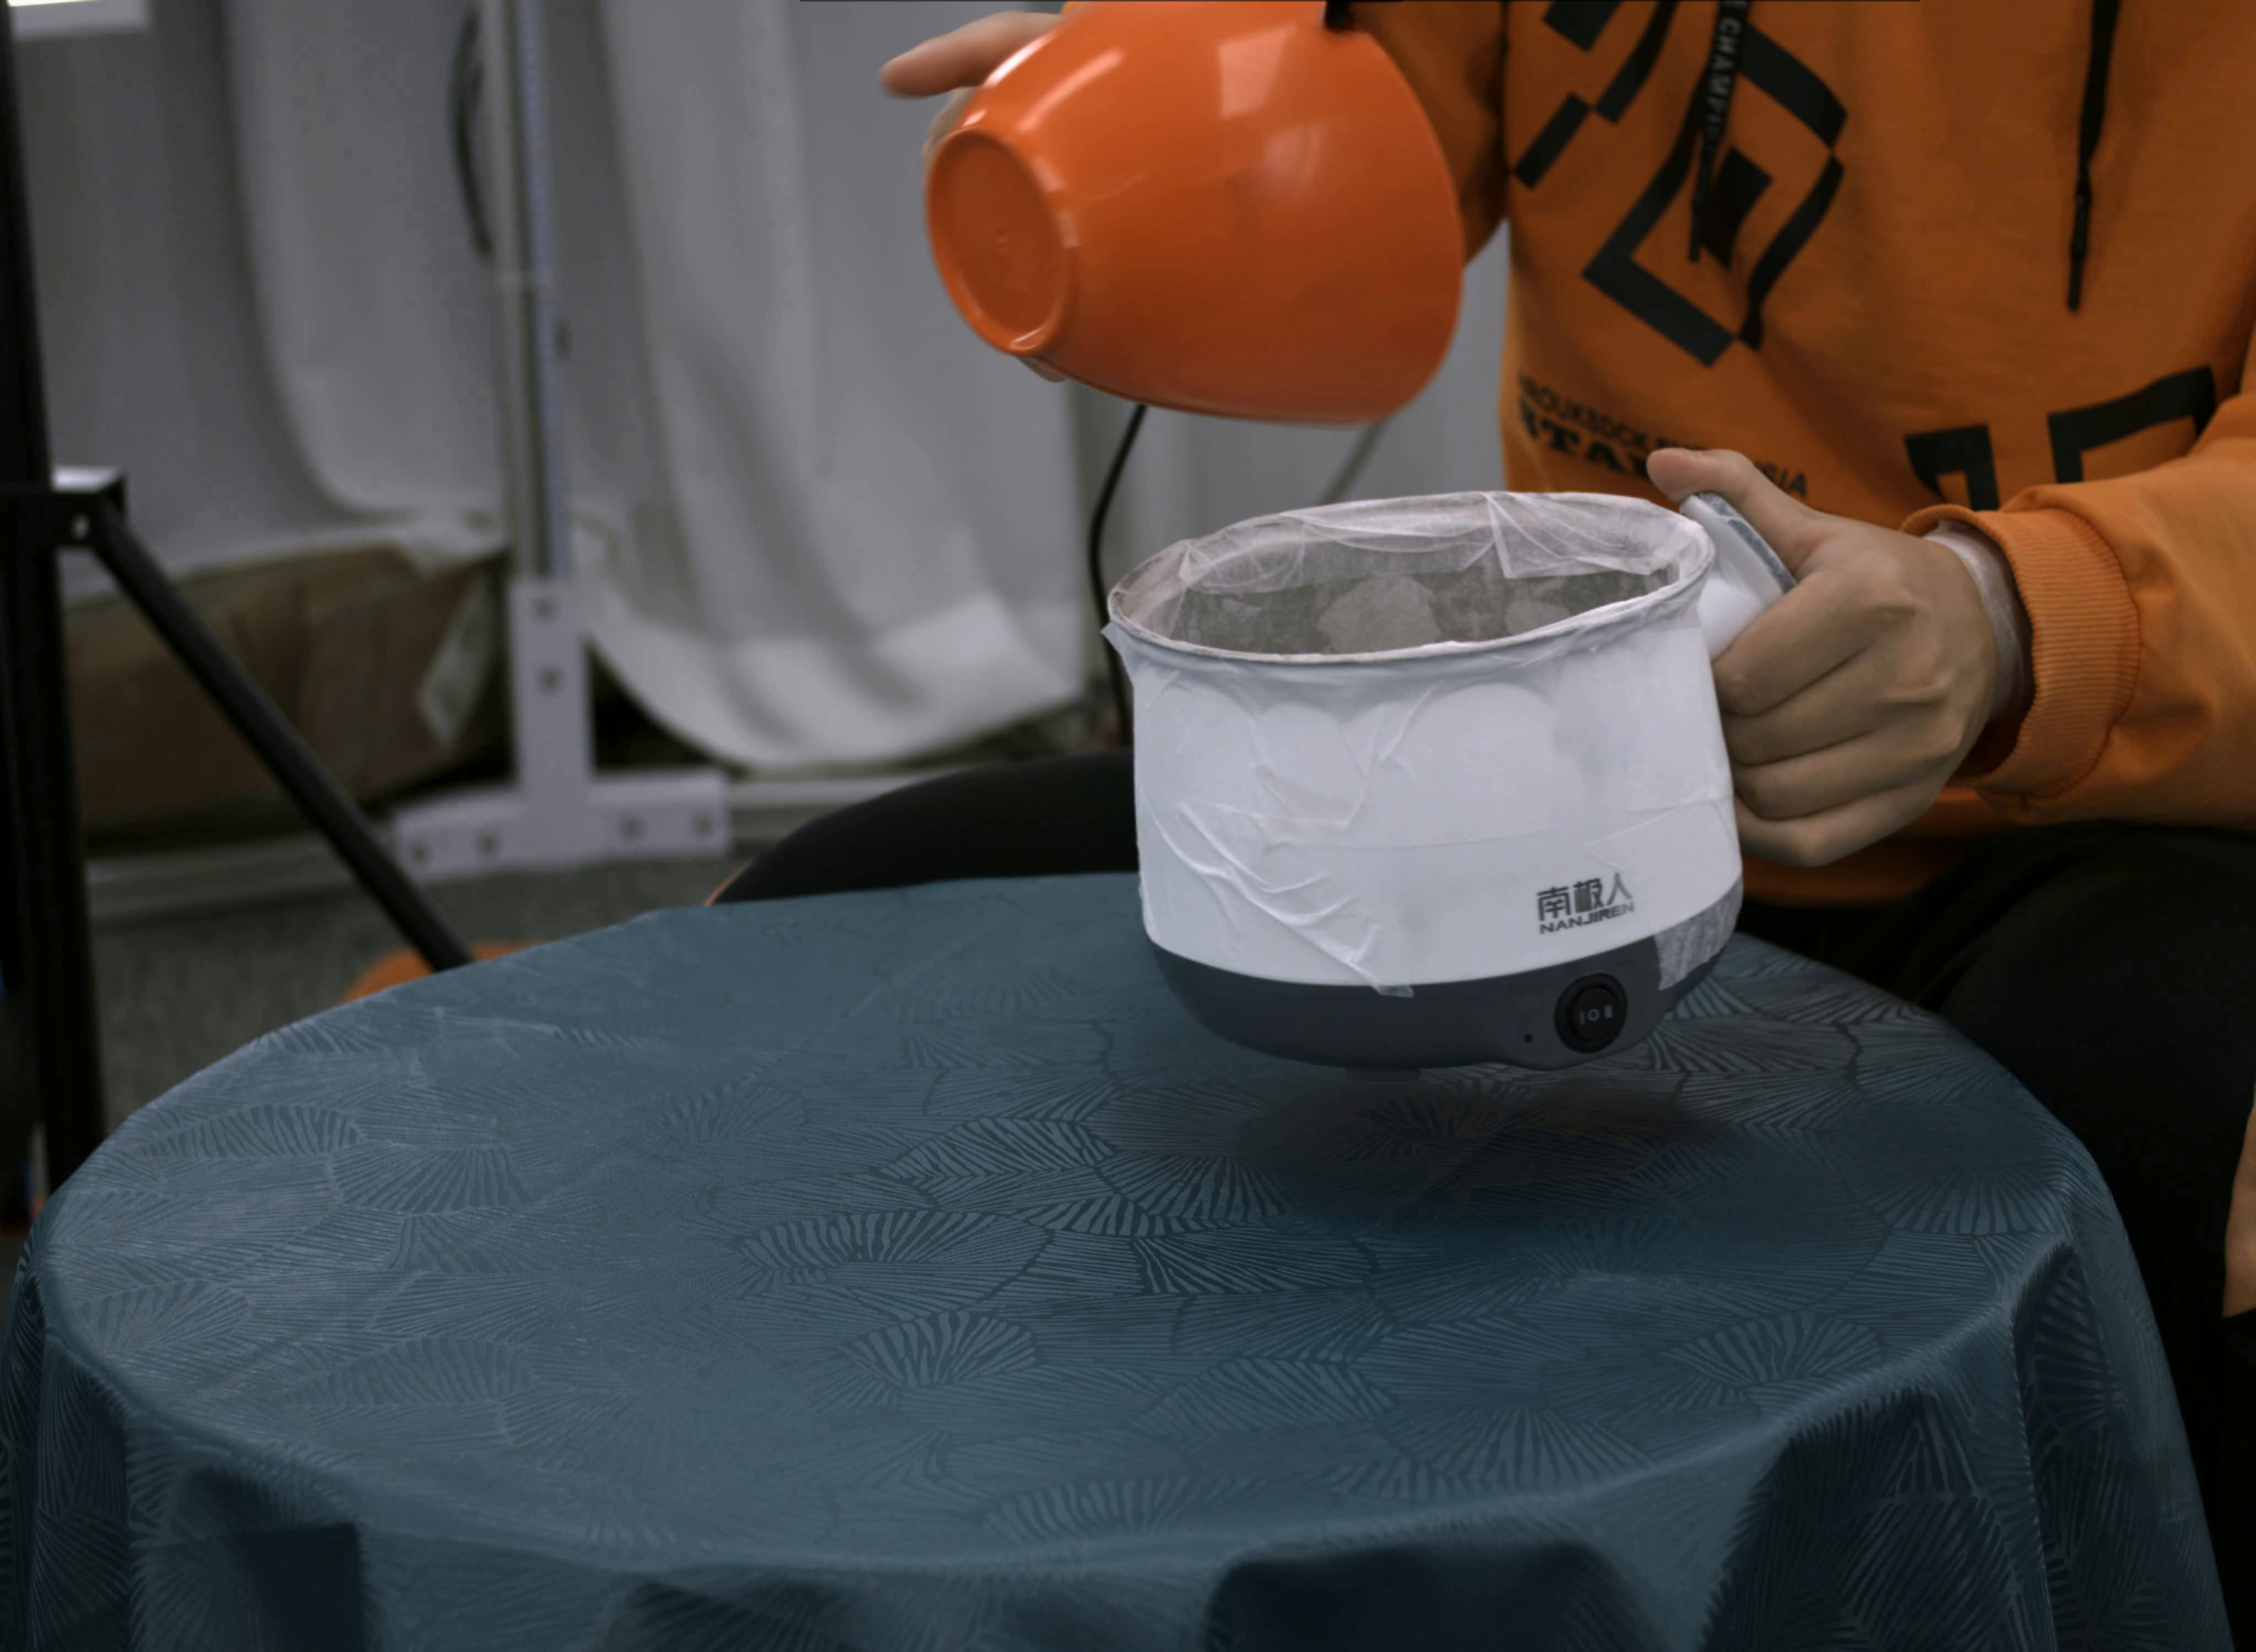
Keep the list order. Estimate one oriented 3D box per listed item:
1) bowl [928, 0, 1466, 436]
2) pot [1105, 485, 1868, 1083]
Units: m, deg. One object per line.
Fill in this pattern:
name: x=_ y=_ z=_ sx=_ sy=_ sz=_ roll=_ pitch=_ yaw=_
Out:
bowl: x=0.010 y=-0.171 z=1.510 sx=0.102 sy=0.148 sz=0.151 roll=-19 pitch=22 yaw=-34
pot: x=0.112 y=-0.020 z=1.564 sx=0.229 sy=0.136 sz=0.182 roll=-14 pitch=19 yaw=-23
